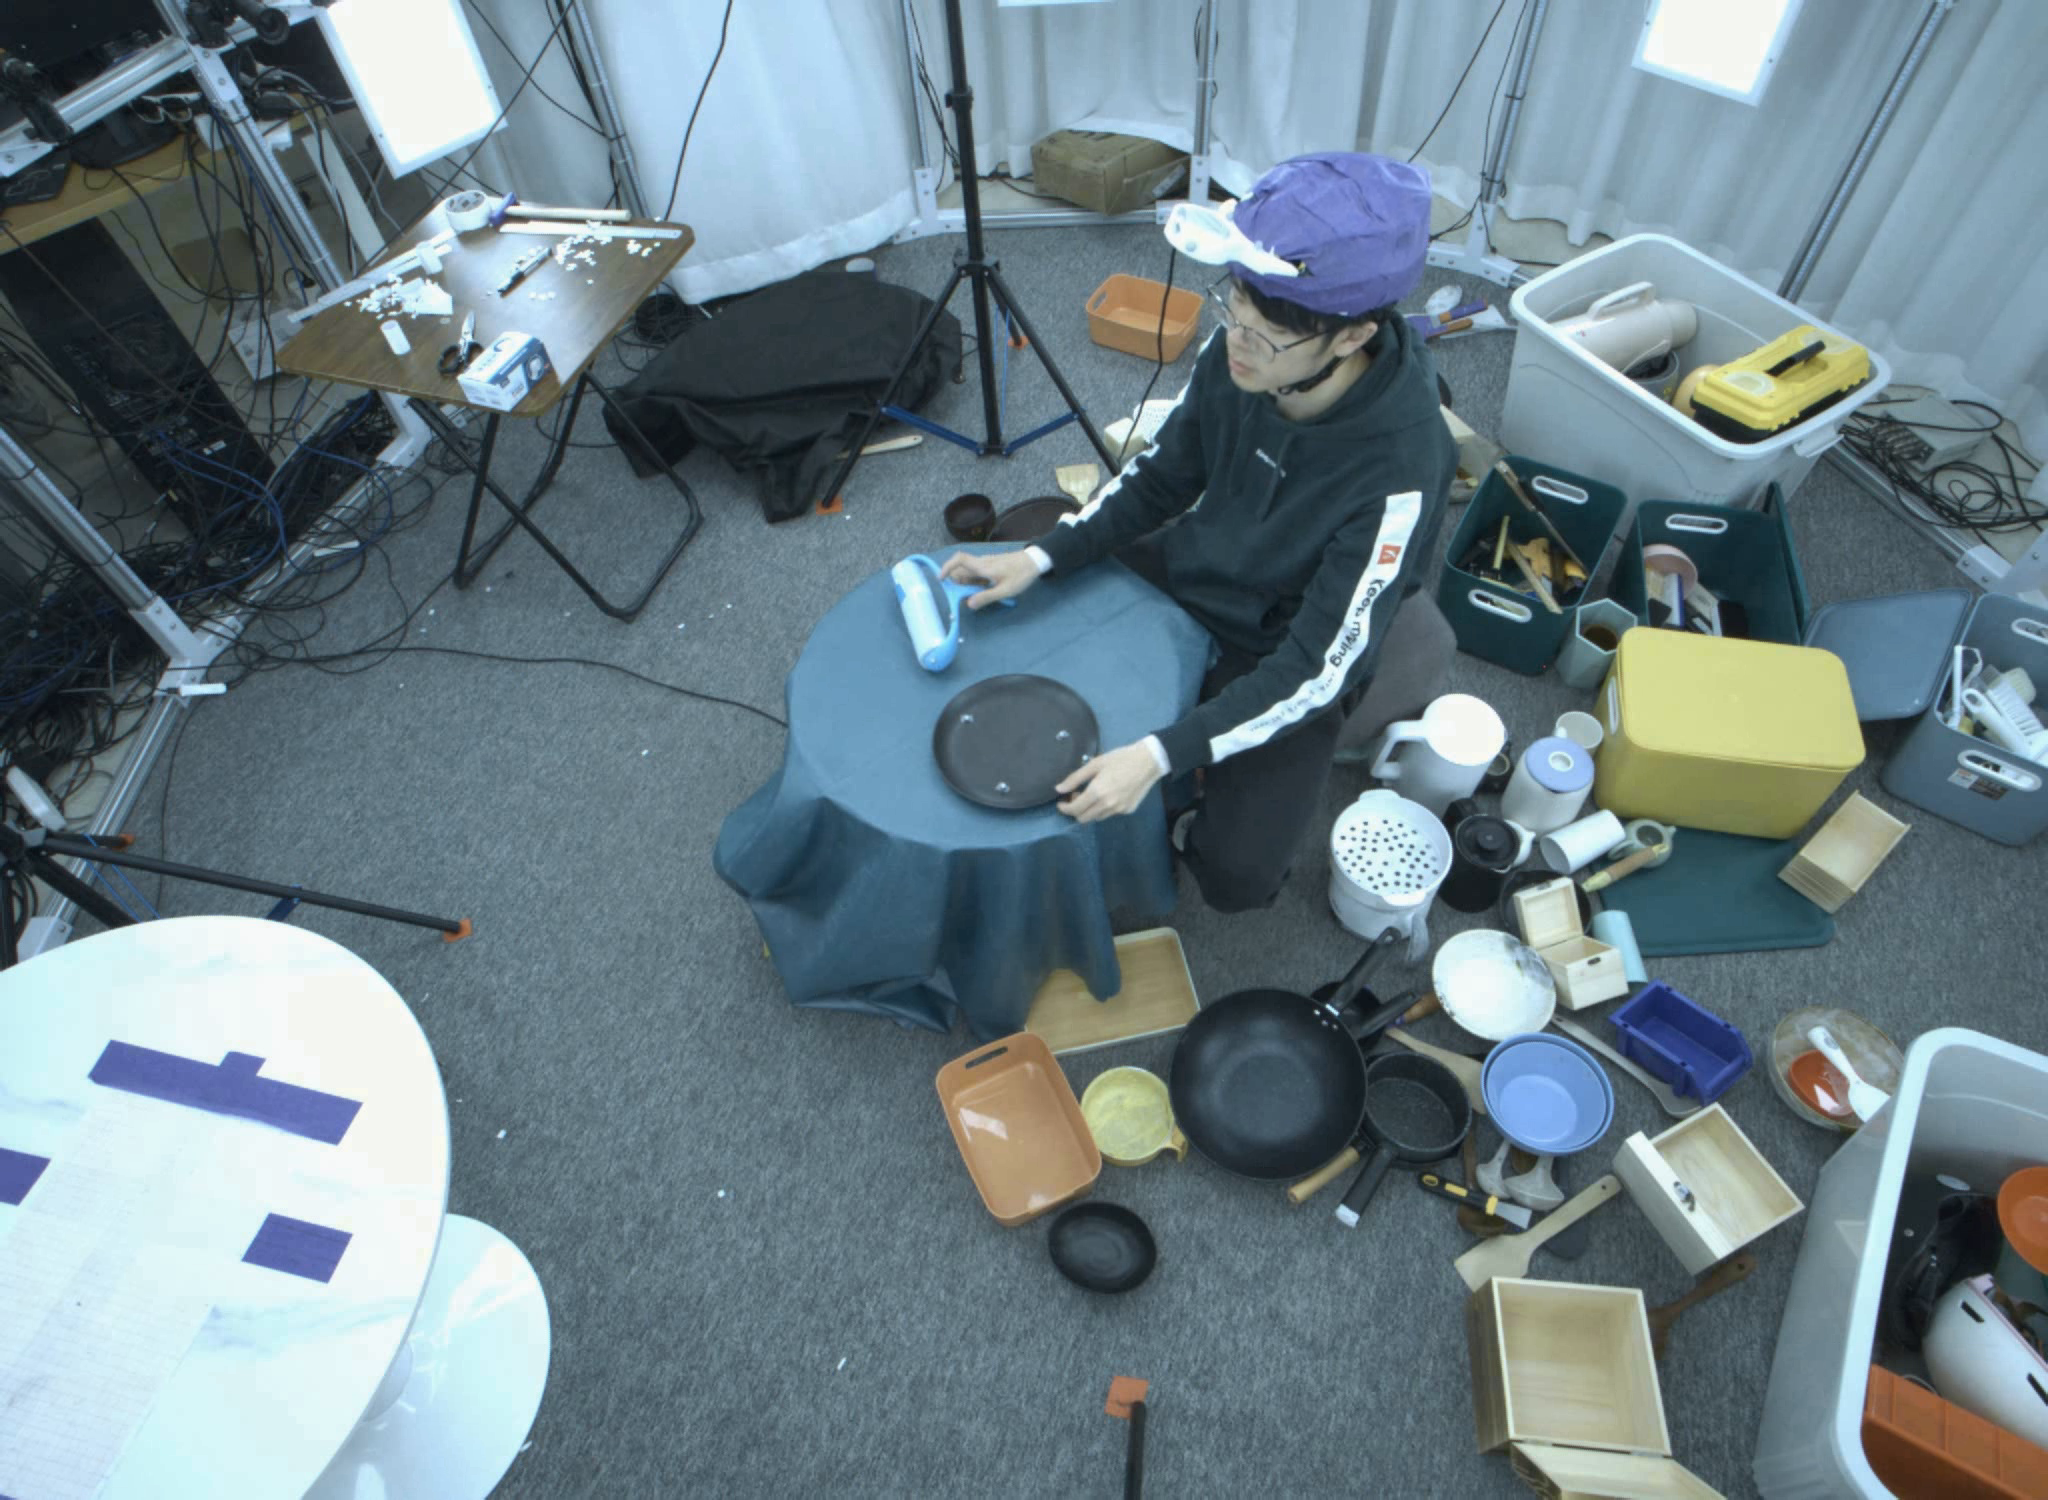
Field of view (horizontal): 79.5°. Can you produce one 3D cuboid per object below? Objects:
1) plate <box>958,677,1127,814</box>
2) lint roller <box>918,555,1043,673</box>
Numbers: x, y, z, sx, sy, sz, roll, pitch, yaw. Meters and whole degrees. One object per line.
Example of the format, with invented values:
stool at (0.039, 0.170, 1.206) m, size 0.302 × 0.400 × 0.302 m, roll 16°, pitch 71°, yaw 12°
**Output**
plate at (0.027, -0.006, 1.772) m, size 0.244 × 0.024 × 0.242 m, roll 0°, pitch 55°, yaw 2°
lint roller at (-0.060, -0.227, 1.912) m, size 0.181 × 0.068 × 0.225 m, roll -17°, pitch 54°, yaw -10°
